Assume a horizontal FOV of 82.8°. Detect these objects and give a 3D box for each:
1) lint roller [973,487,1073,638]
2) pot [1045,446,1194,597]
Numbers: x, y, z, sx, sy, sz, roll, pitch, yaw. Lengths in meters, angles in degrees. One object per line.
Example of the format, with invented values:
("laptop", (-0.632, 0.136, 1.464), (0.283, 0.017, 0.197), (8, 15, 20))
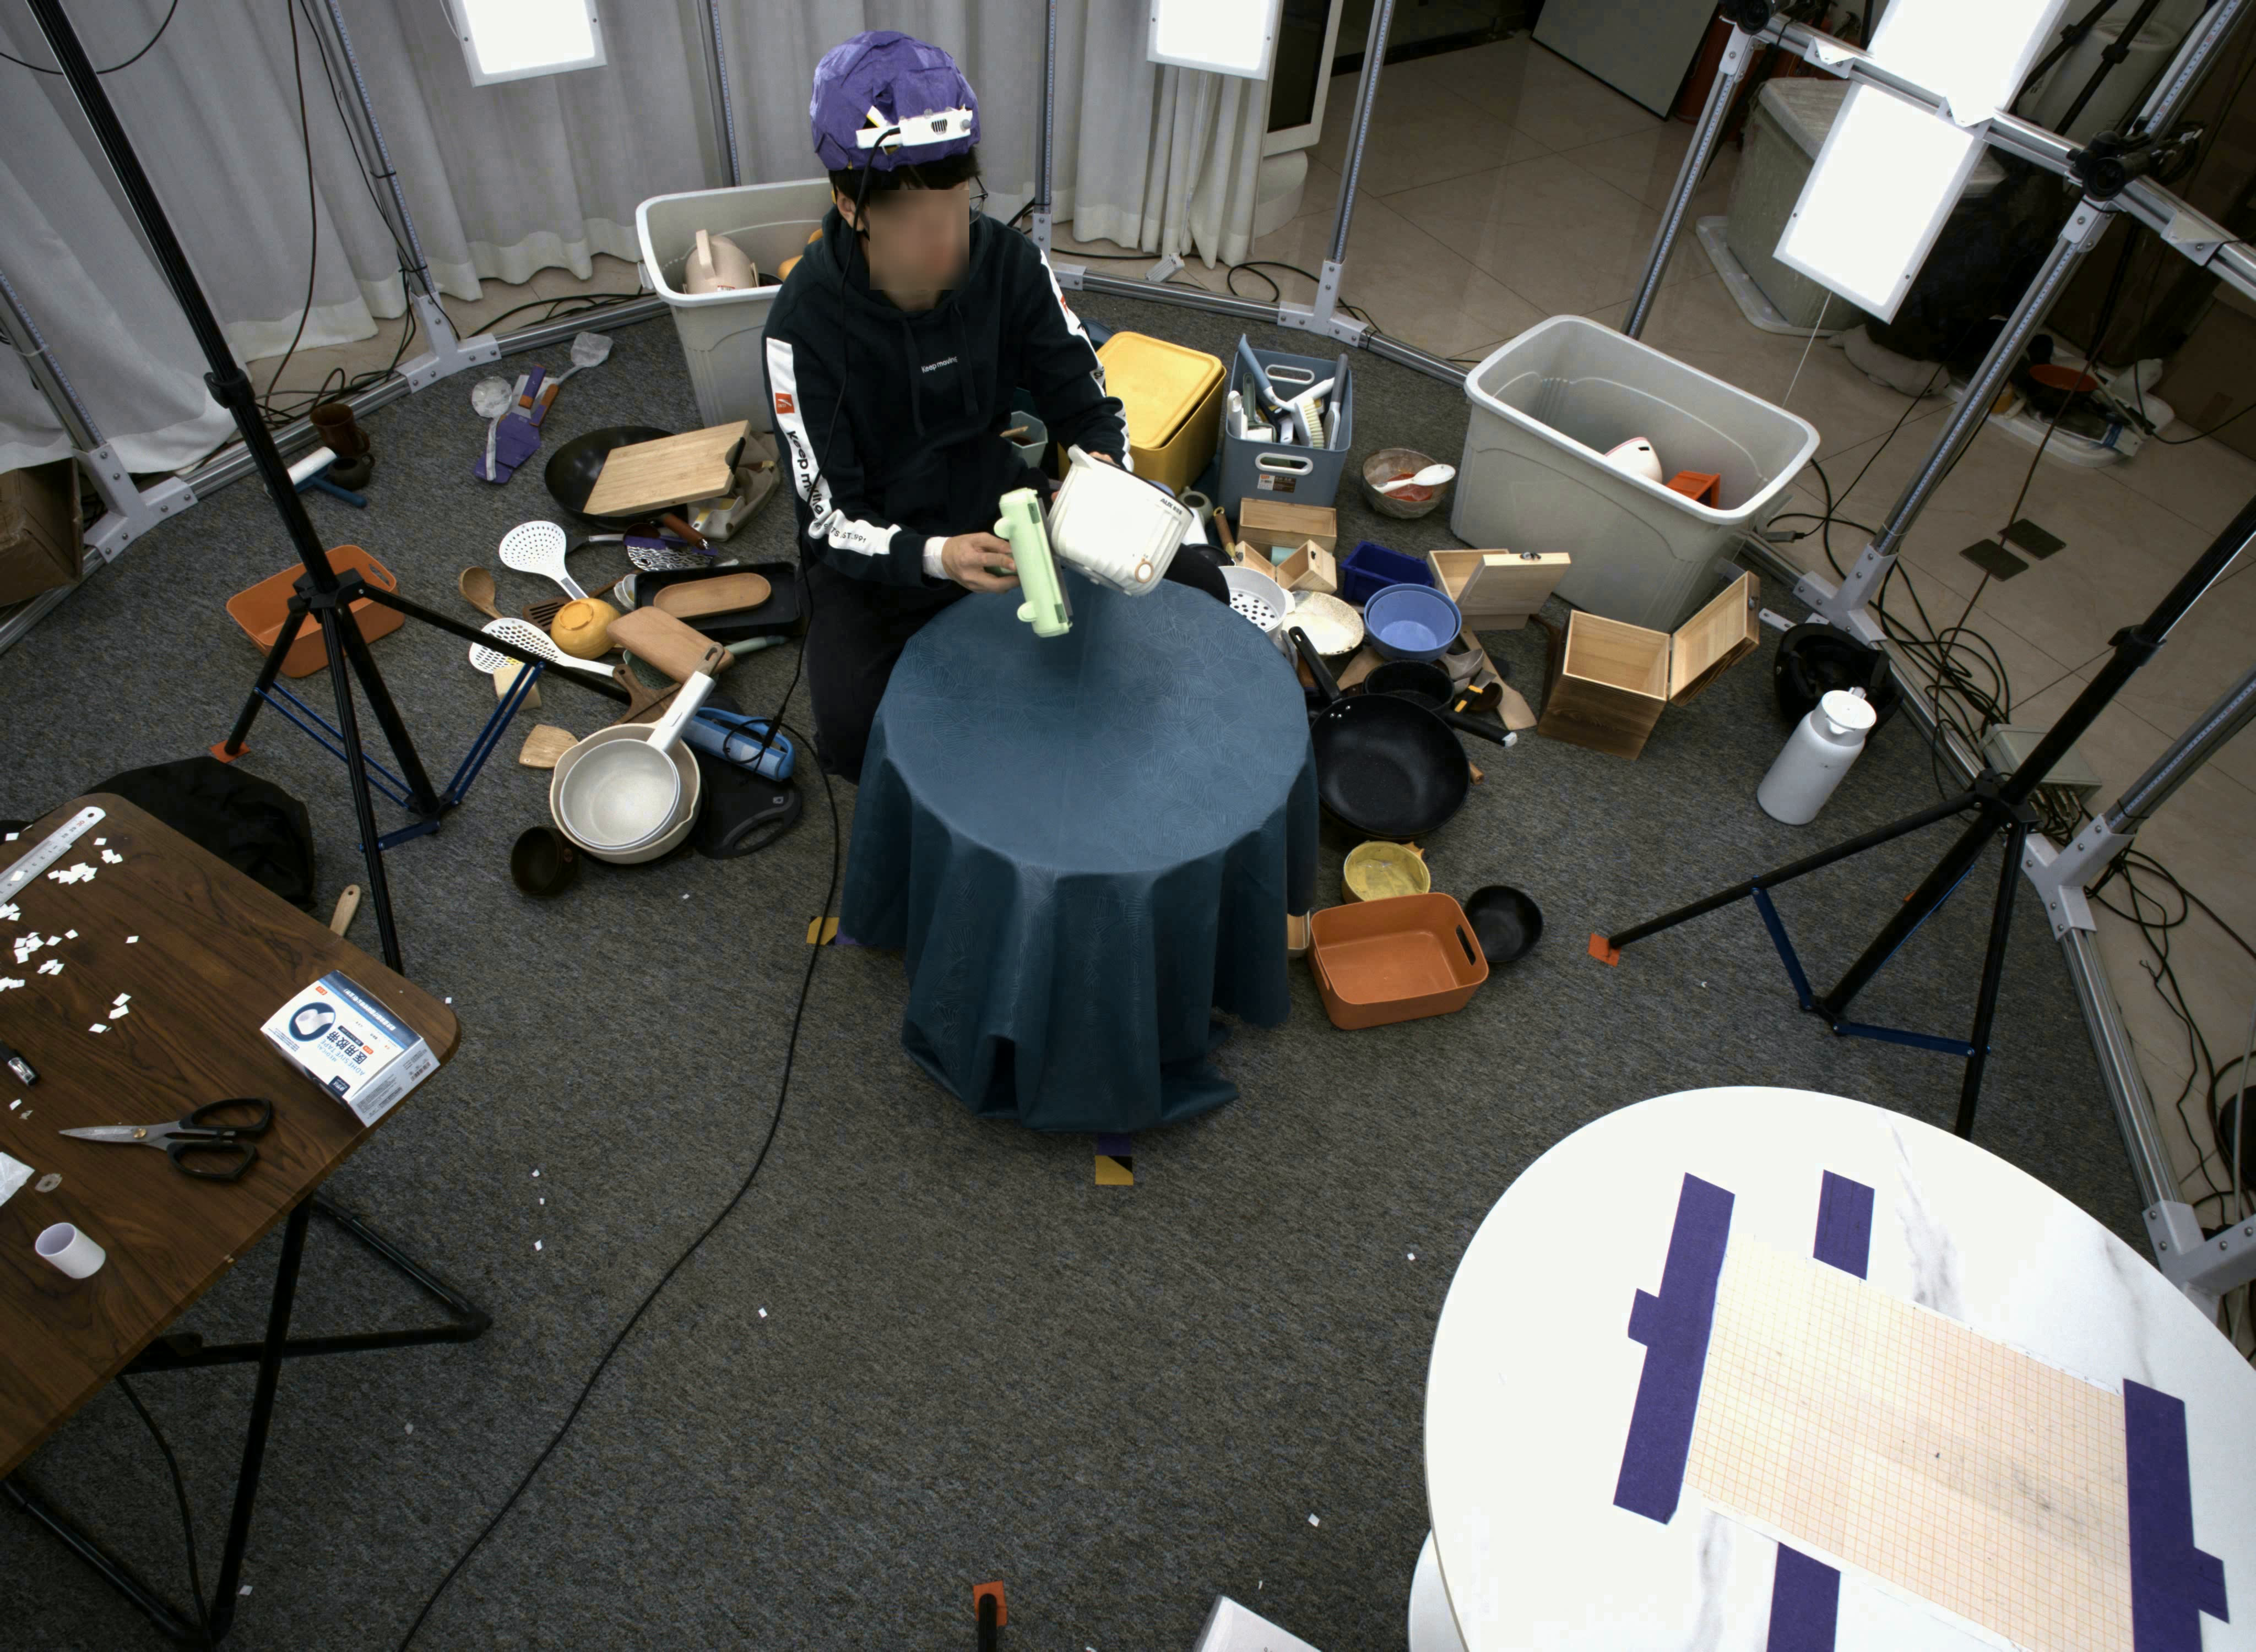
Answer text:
("lint roller", (-0.167, -0.350, 1.749), (0.184, 0.196, 0.083), (3, 25, 43))
("pot", (-0.016, -0.399, 1.752), (0.237, 0.142, 0.193), (22, 1, -42))
